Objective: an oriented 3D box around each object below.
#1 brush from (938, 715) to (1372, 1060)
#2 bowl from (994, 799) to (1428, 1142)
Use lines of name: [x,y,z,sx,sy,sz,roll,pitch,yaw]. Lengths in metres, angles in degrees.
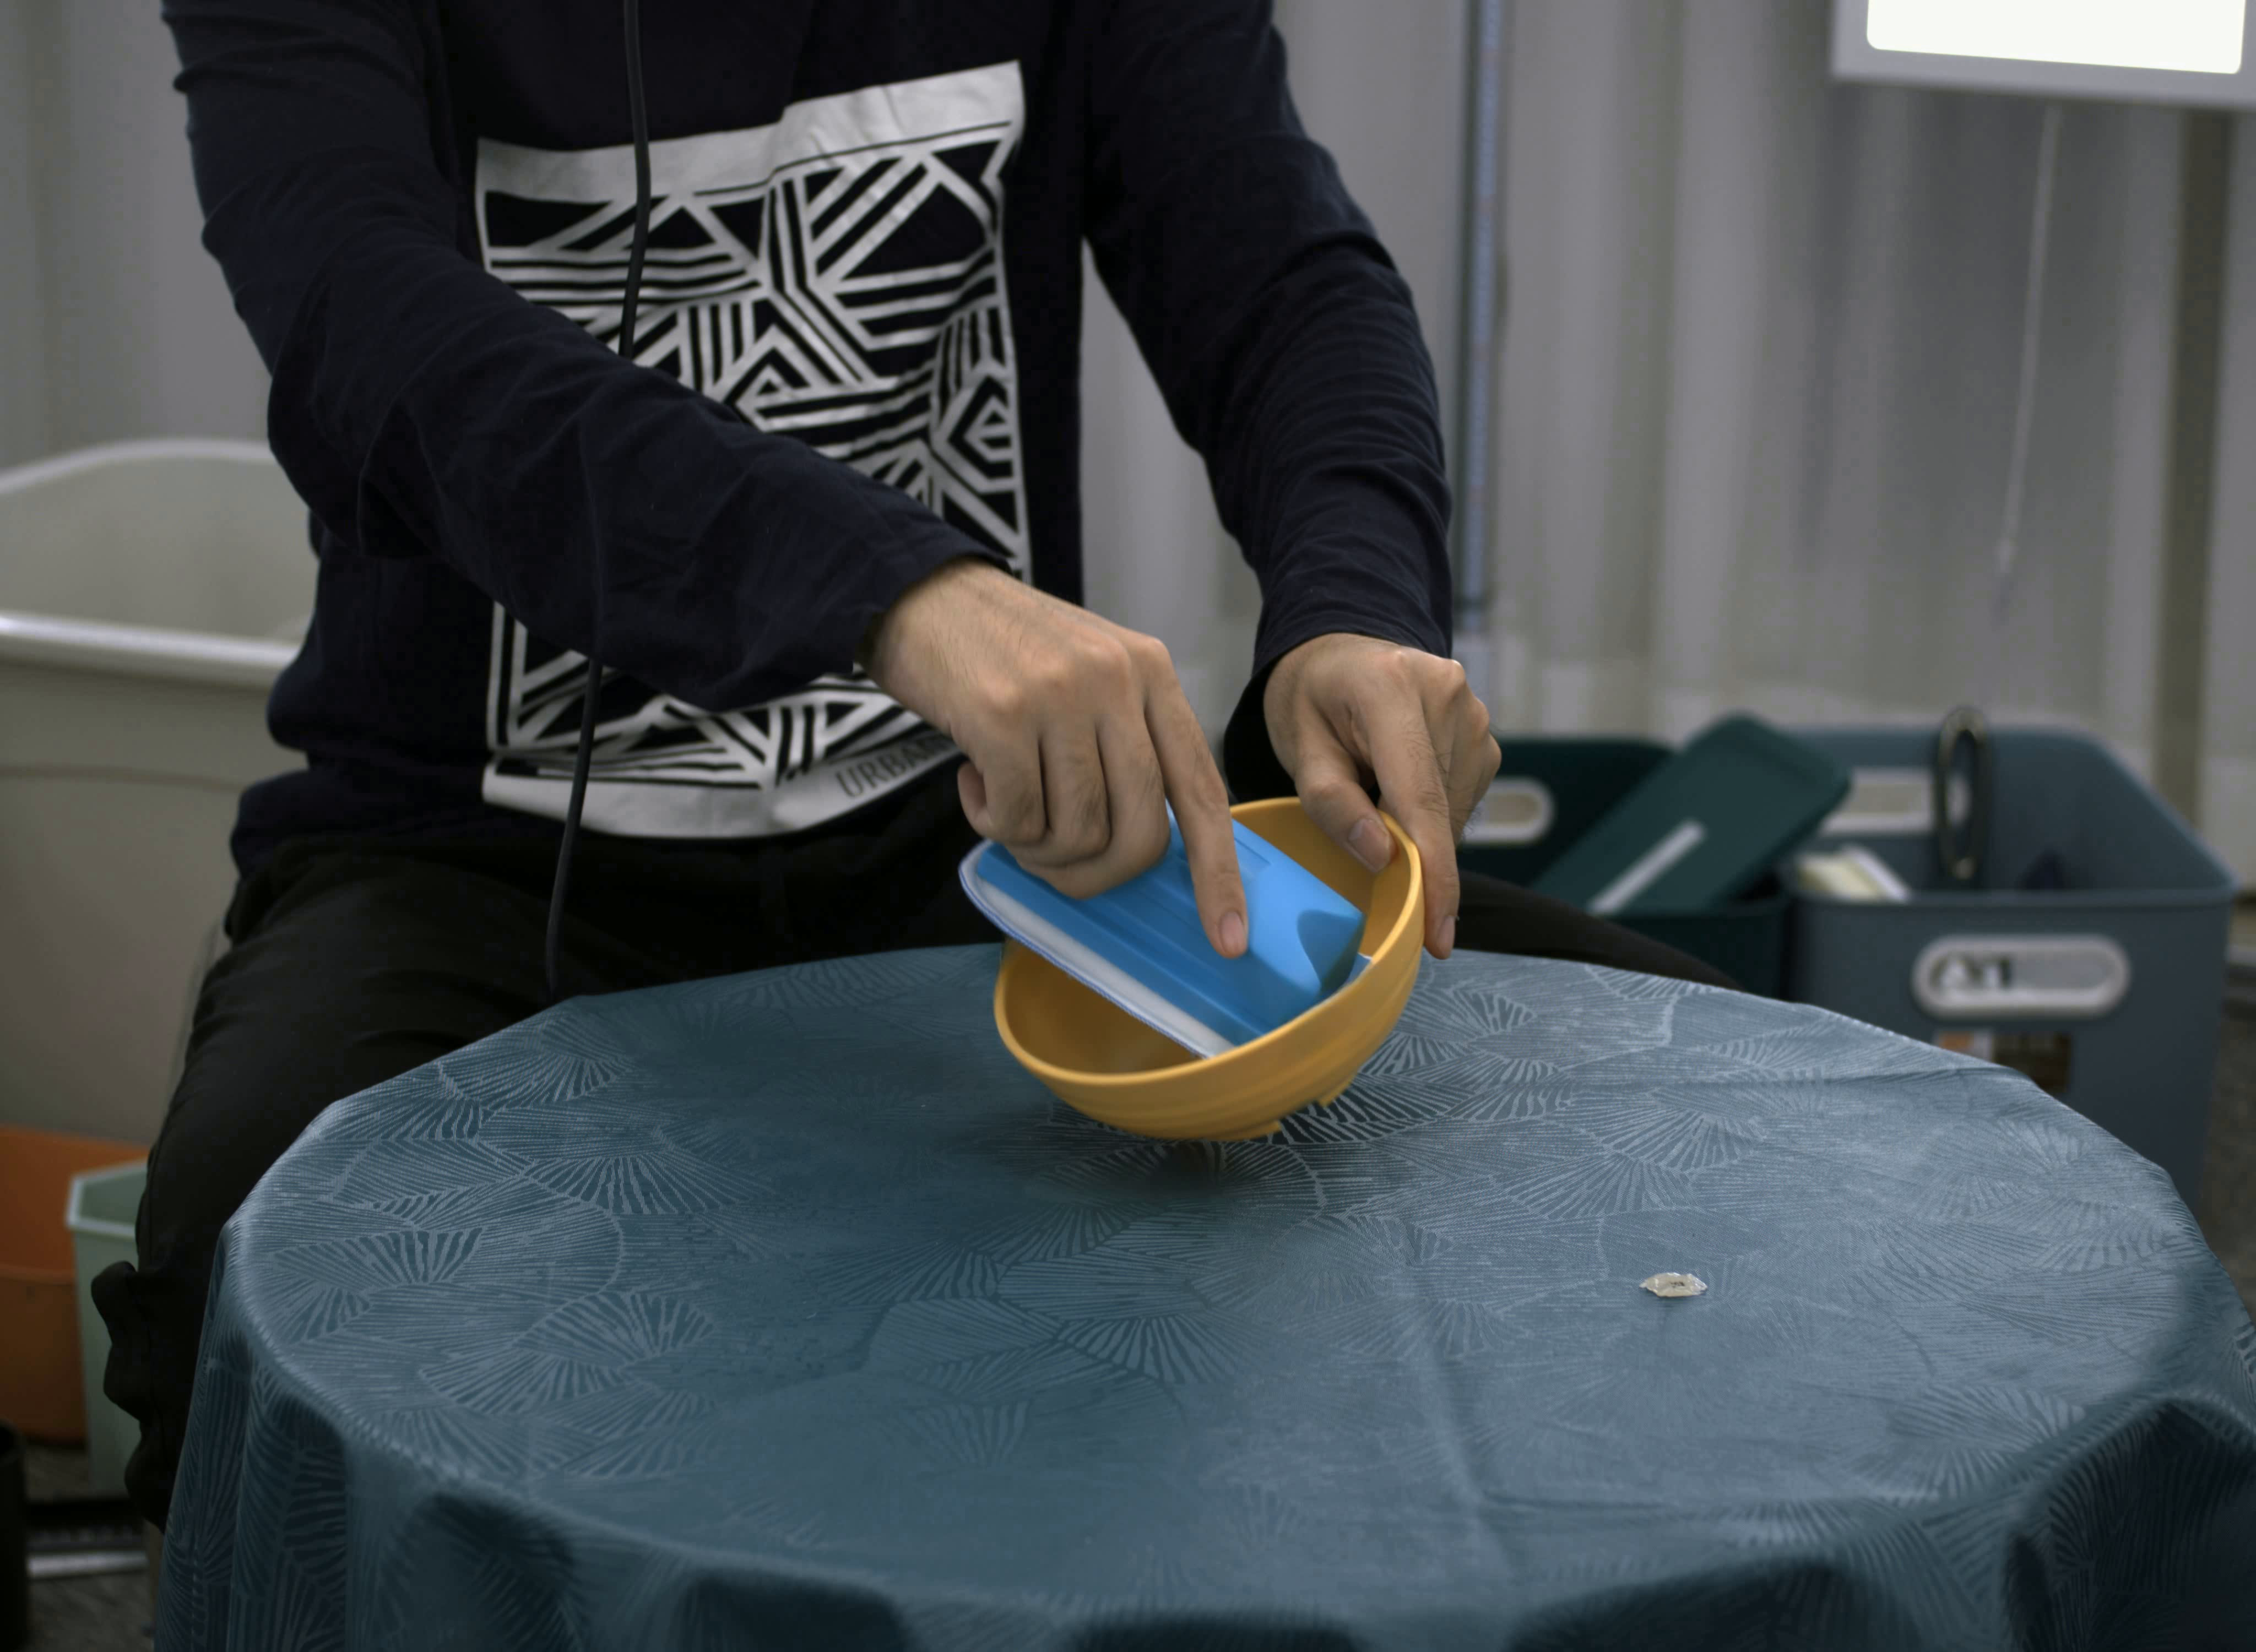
brush: [0.015,0.015,1.657,0.142,0.056,0.084,36,40,17]
bowl: [0.034,0.057,1.673,0.144,0.061,0.144,-14,31,10]
